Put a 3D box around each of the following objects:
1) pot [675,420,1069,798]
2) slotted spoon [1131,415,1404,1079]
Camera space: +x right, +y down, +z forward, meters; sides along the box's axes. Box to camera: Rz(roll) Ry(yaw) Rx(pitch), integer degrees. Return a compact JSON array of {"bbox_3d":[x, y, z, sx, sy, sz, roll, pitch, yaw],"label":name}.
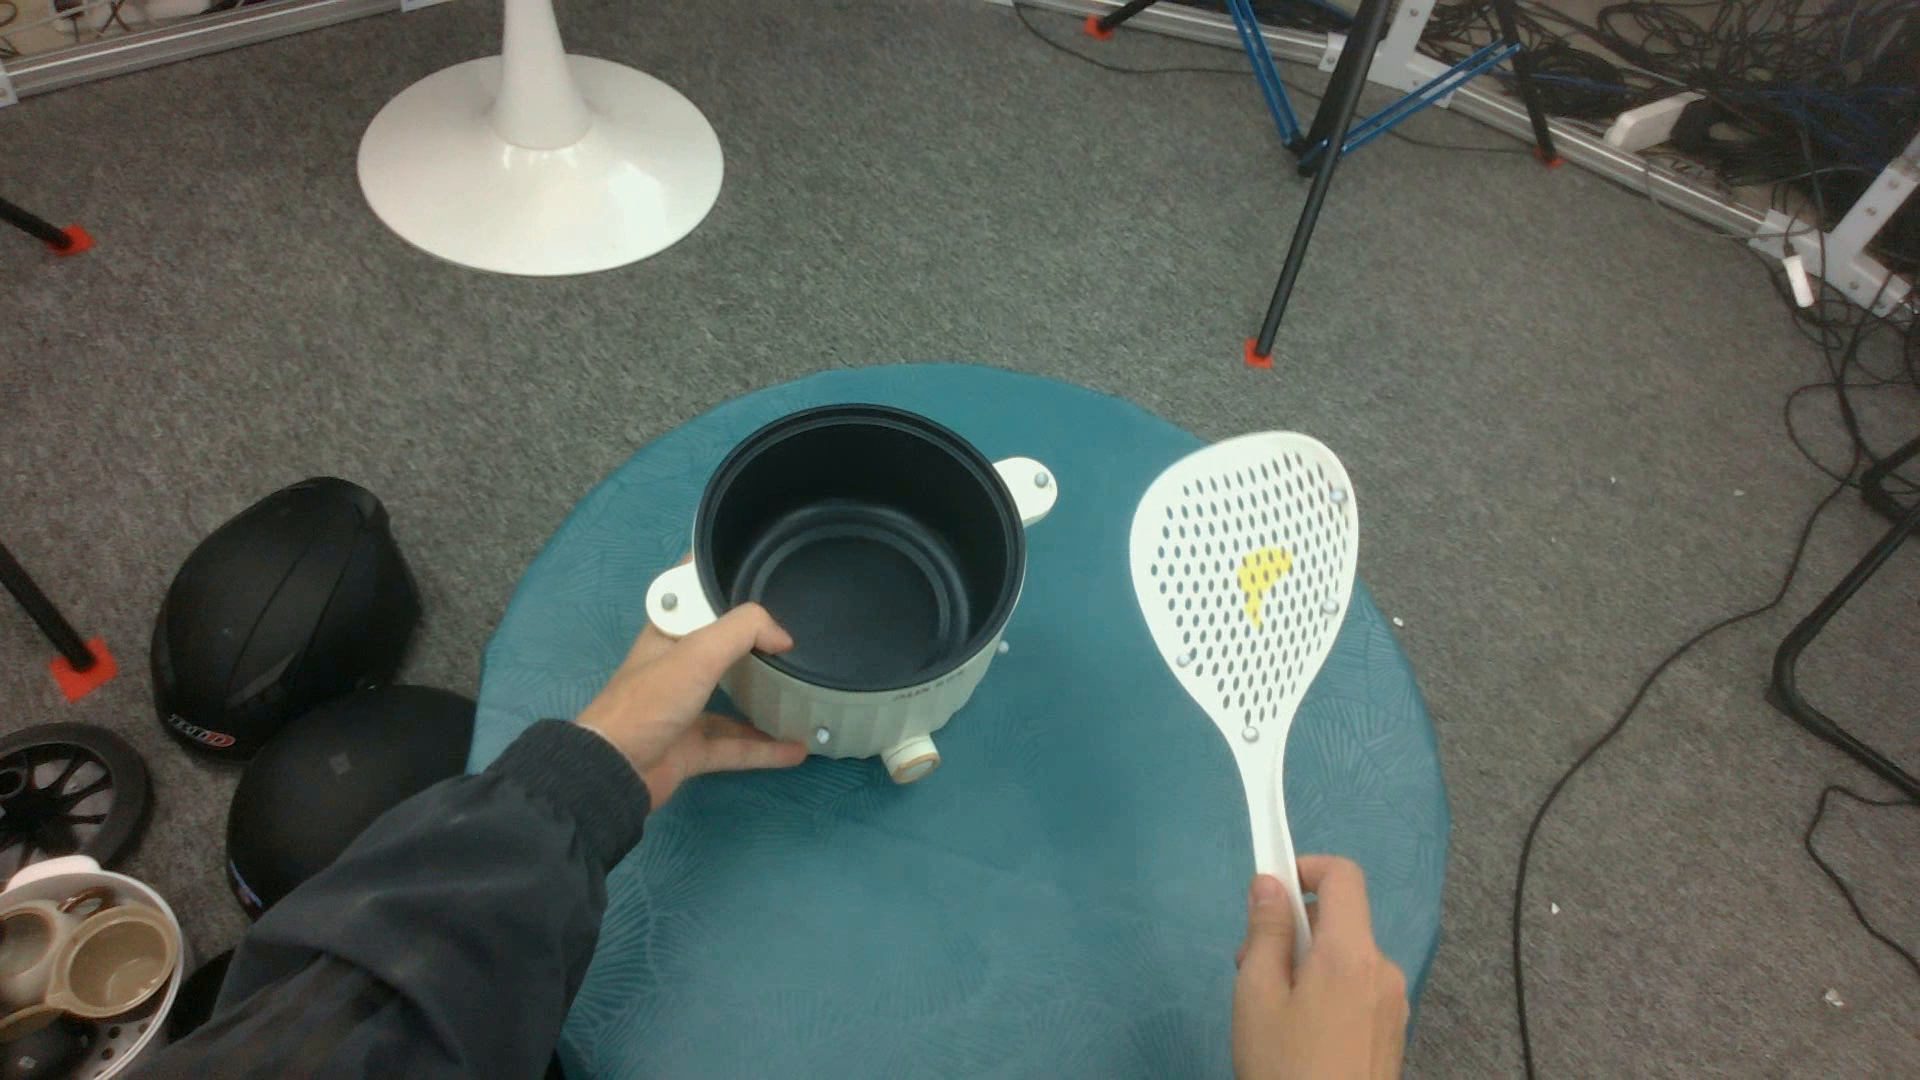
[{"bbox_3d":[-0.046,0.047,0.811,0.241,0.142,0.191,-23,60,-19],"label":"pot"},{"bbox_3d":[0.175,0.100,0.725,0.136,0.050,0.349,-21,61,30],"label":"slotted spoon"}]
